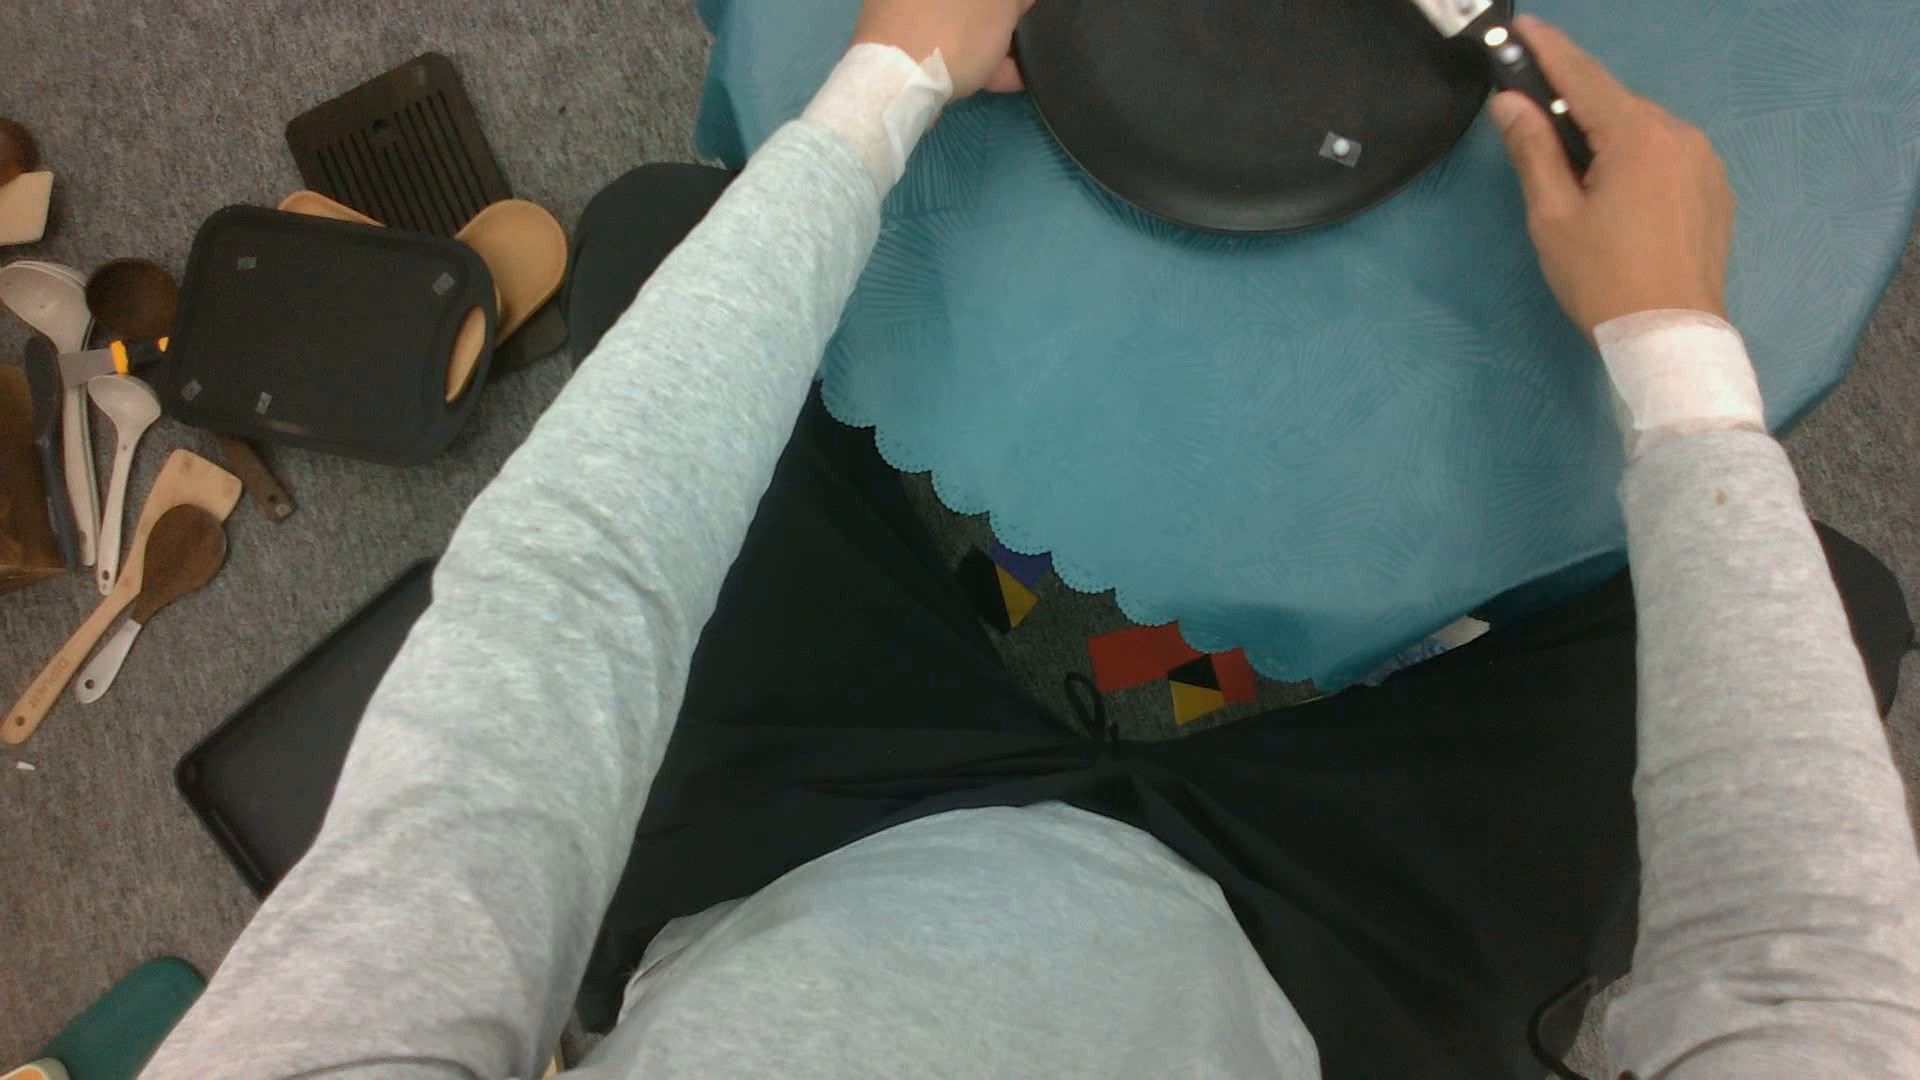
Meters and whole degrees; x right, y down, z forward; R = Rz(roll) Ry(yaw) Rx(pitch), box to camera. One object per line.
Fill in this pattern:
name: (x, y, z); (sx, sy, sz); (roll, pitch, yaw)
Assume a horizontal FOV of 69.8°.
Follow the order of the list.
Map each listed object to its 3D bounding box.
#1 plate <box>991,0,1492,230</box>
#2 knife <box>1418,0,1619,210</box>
plate: (0.137, -0.272, 0.683); (0.244, 0.023, 0.244); (0, 86, 3)
knife: (0.226, -0.250, 0.635); (0.024, 0.016, 0.238); (-38, 84, 14)
